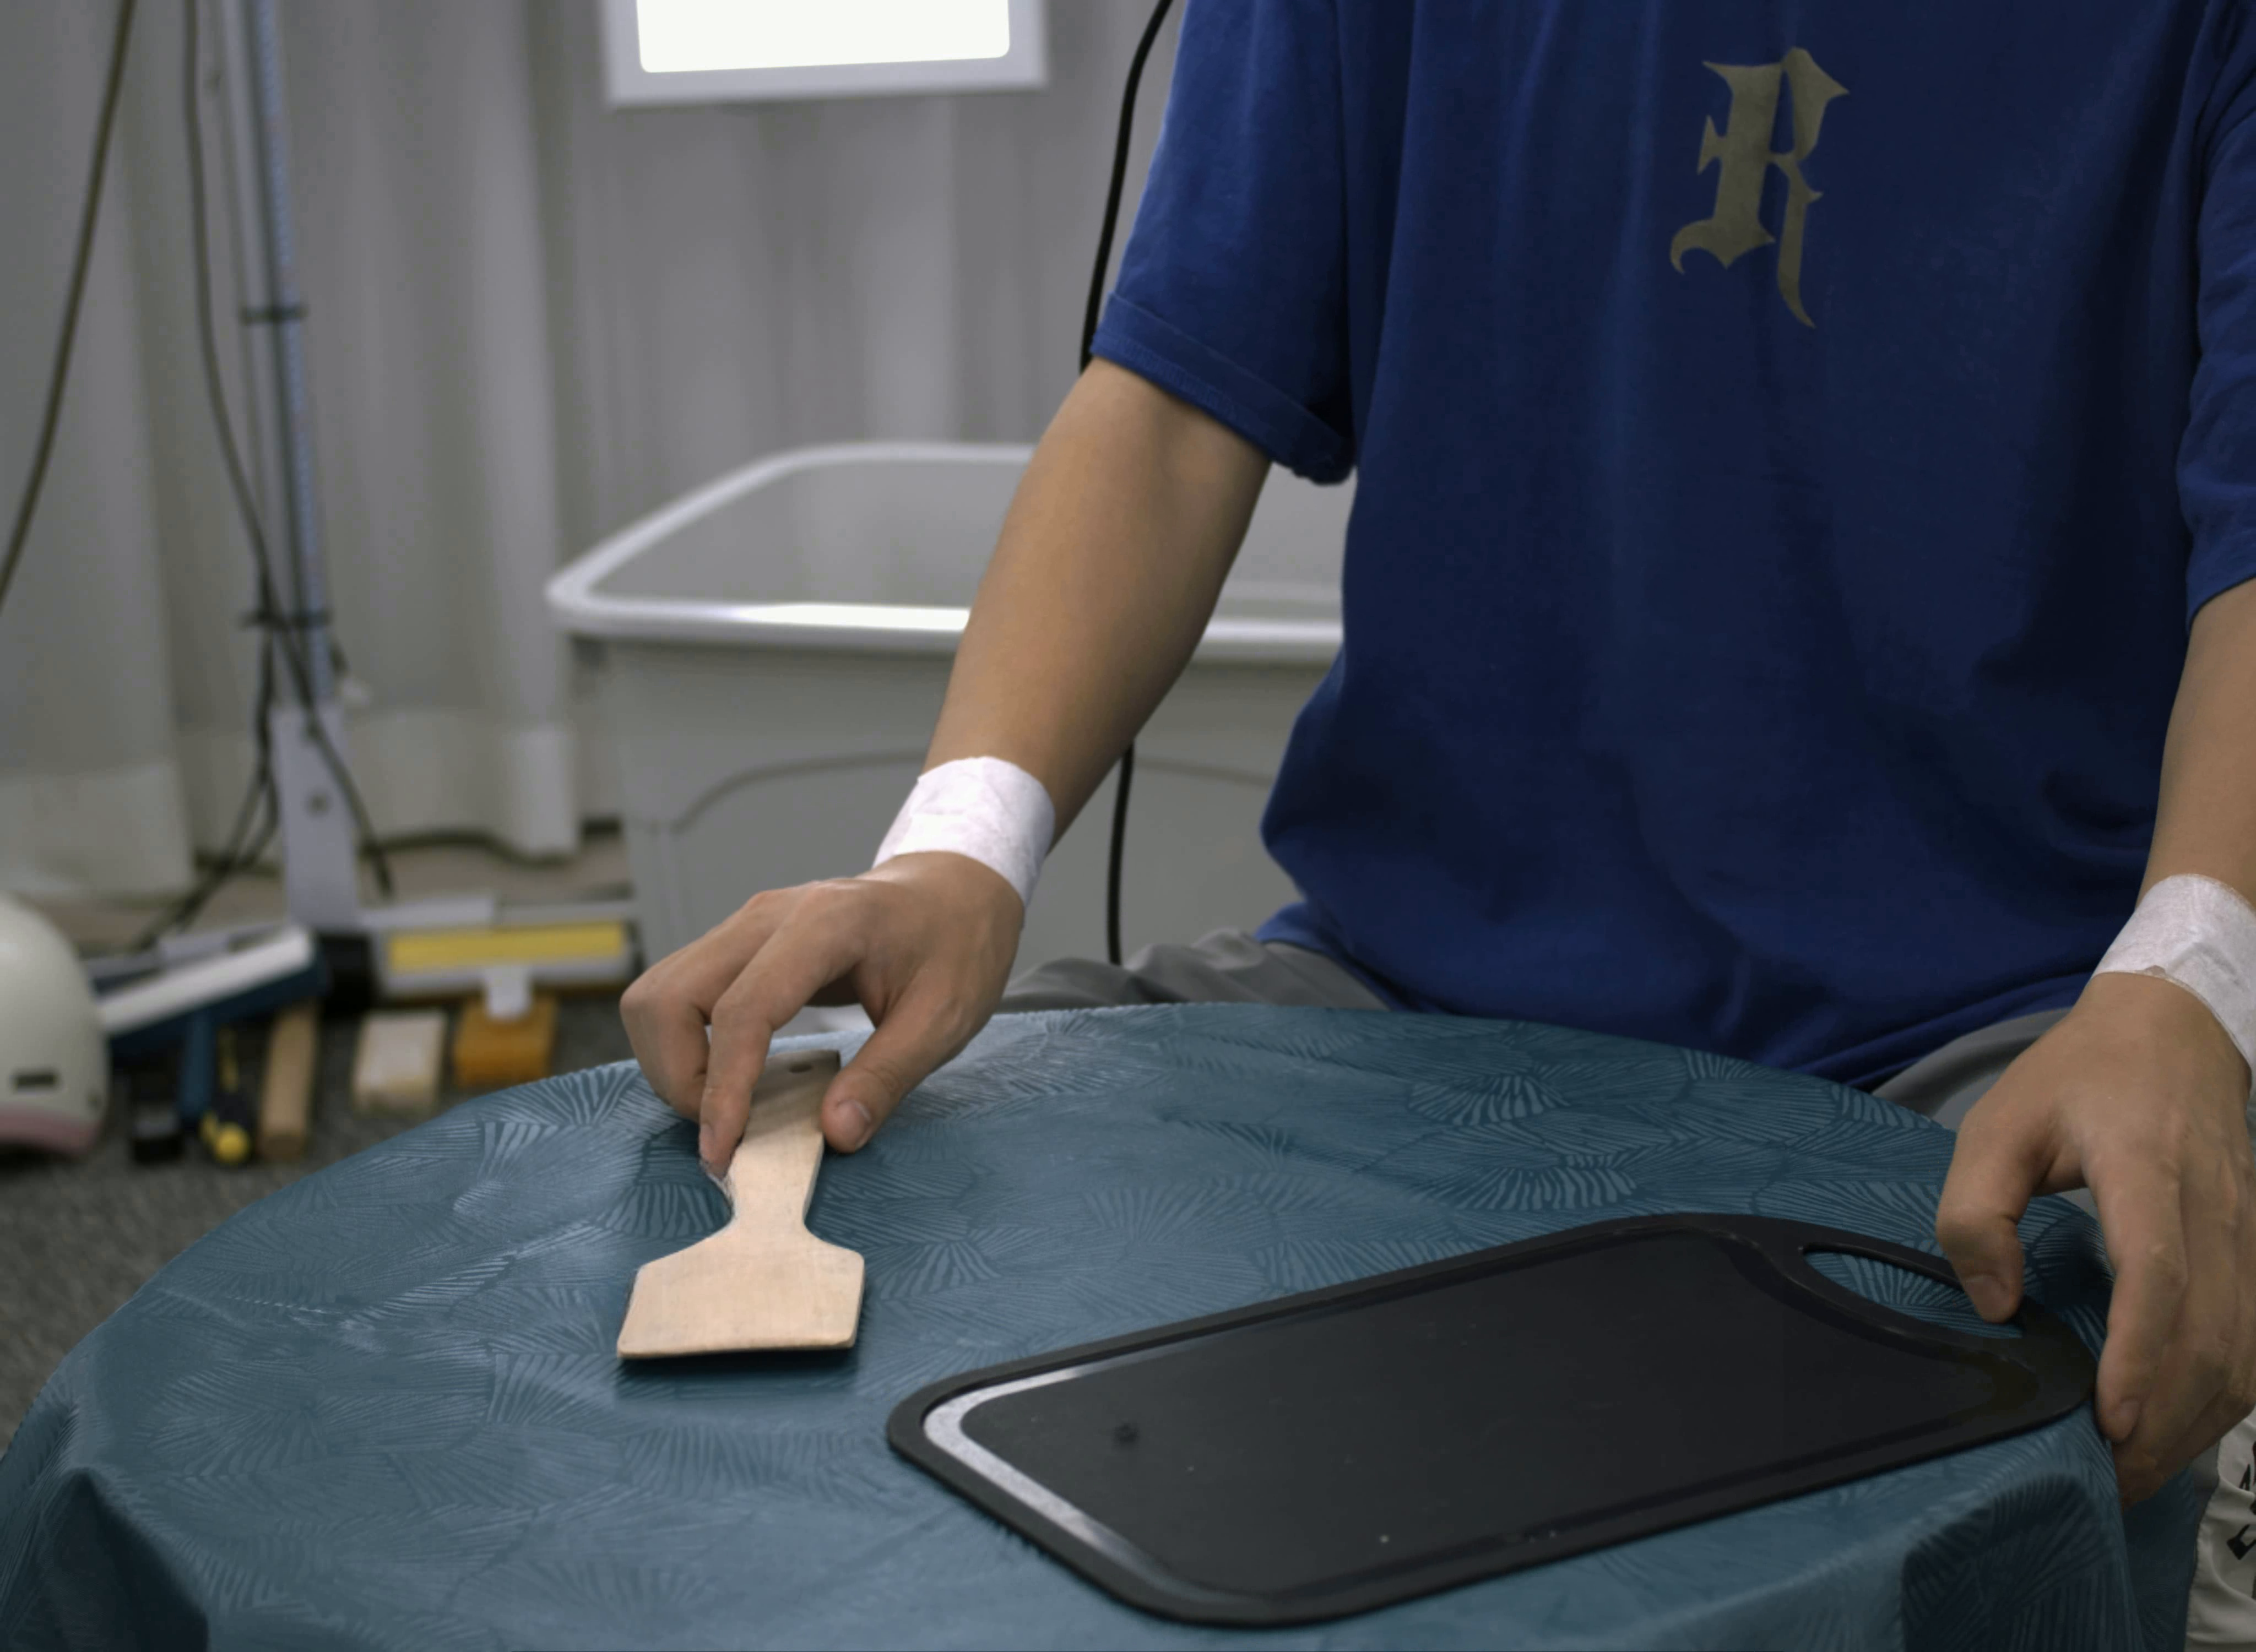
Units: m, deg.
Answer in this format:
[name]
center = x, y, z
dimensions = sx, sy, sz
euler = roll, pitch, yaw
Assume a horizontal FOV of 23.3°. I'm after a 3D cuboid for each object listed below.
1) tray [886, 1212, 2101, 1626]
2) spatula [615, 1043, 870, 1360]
[tray]
center = 0.107, 0.157, 1.518
dimensions = 0.324, 0.010, 0.213
euler = -10, 17, -27
[spatula]
center = -0.112, 0.115, 1.712
dimensions = 0.072, 0.010, 0.295
euler = -4, 15, 2
